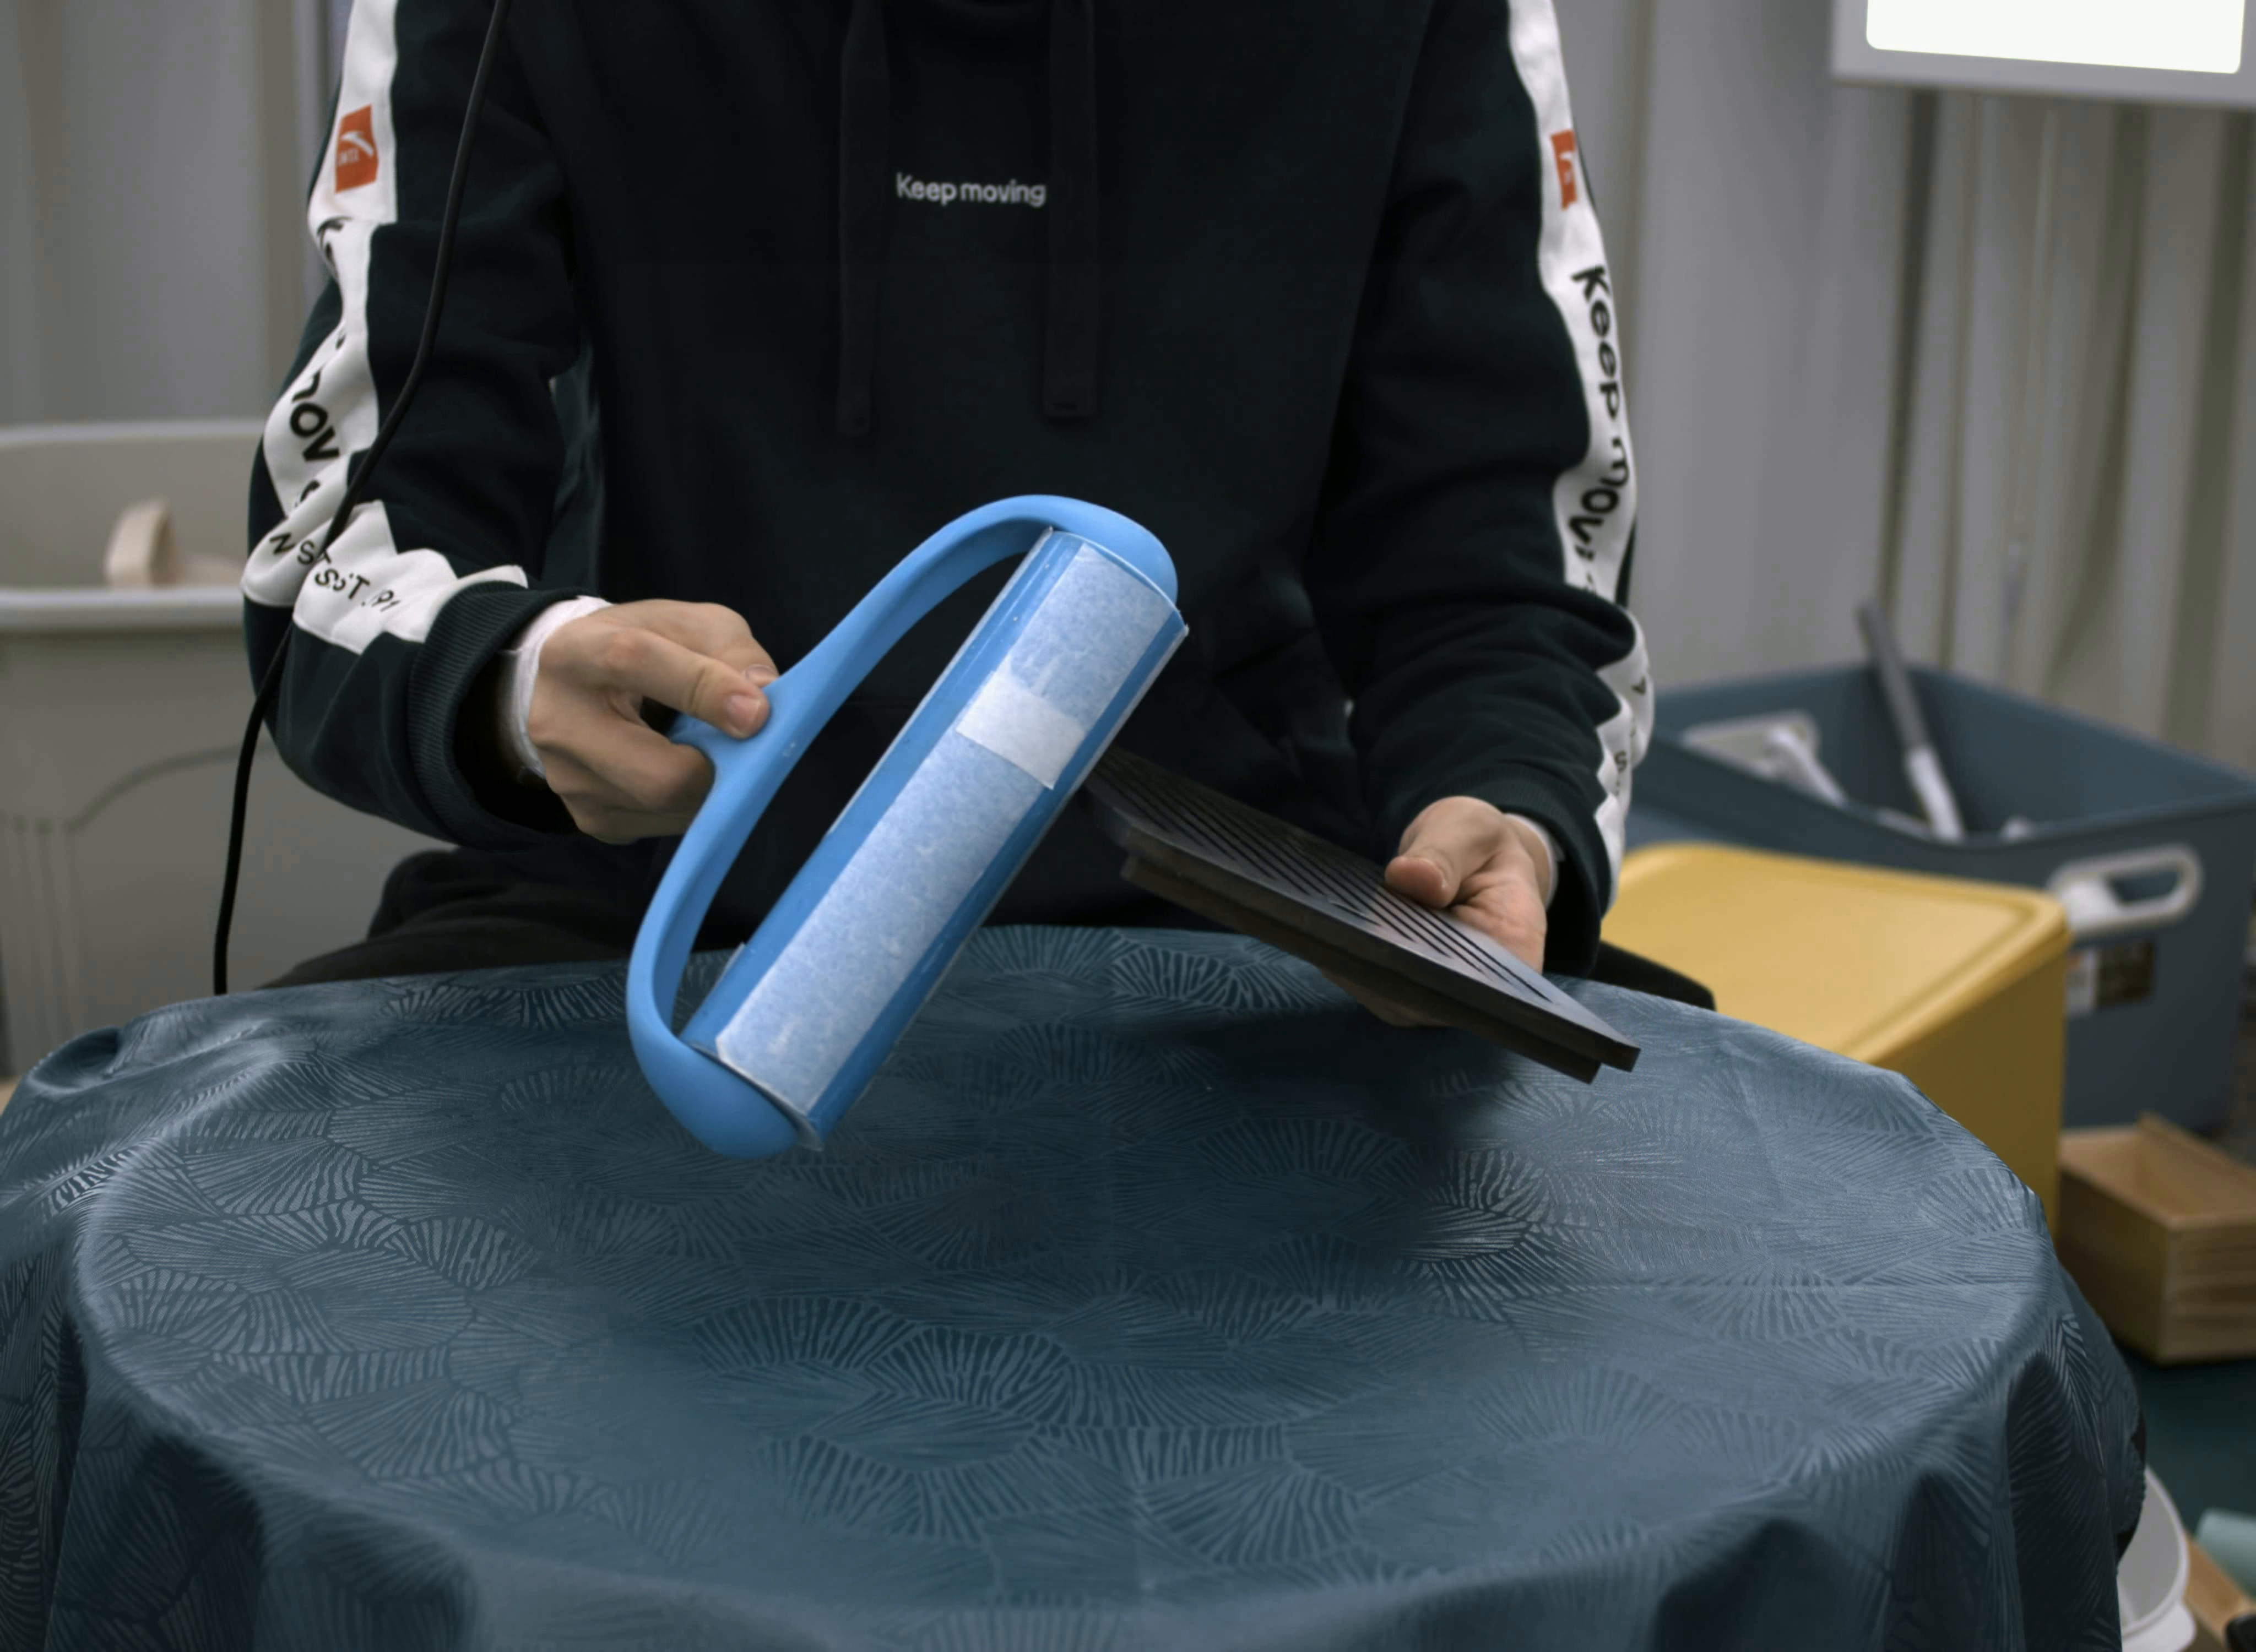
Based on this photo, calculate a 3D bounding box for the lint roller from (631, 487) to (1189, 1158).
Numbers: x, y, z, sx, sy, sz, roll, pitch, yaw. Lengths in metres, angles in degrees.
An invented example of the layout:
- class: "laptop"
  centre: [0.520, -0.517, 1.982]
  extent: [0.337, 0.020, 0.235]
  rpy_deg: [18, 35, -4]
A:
- class: "lint roller"
  centre: [-0.098, -0.012, 1.580]
  extent: [0.178, 0.069, 0.229]
  rpy_deg: [16, 66, 43]

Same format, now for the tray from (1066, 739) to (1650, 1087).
- class: "tray"
  centre: [0.048, 0.017, 1.648]
  extent: [0.171, 0.018, 0.304]
  rpy_deg: [24, 4, -14]
